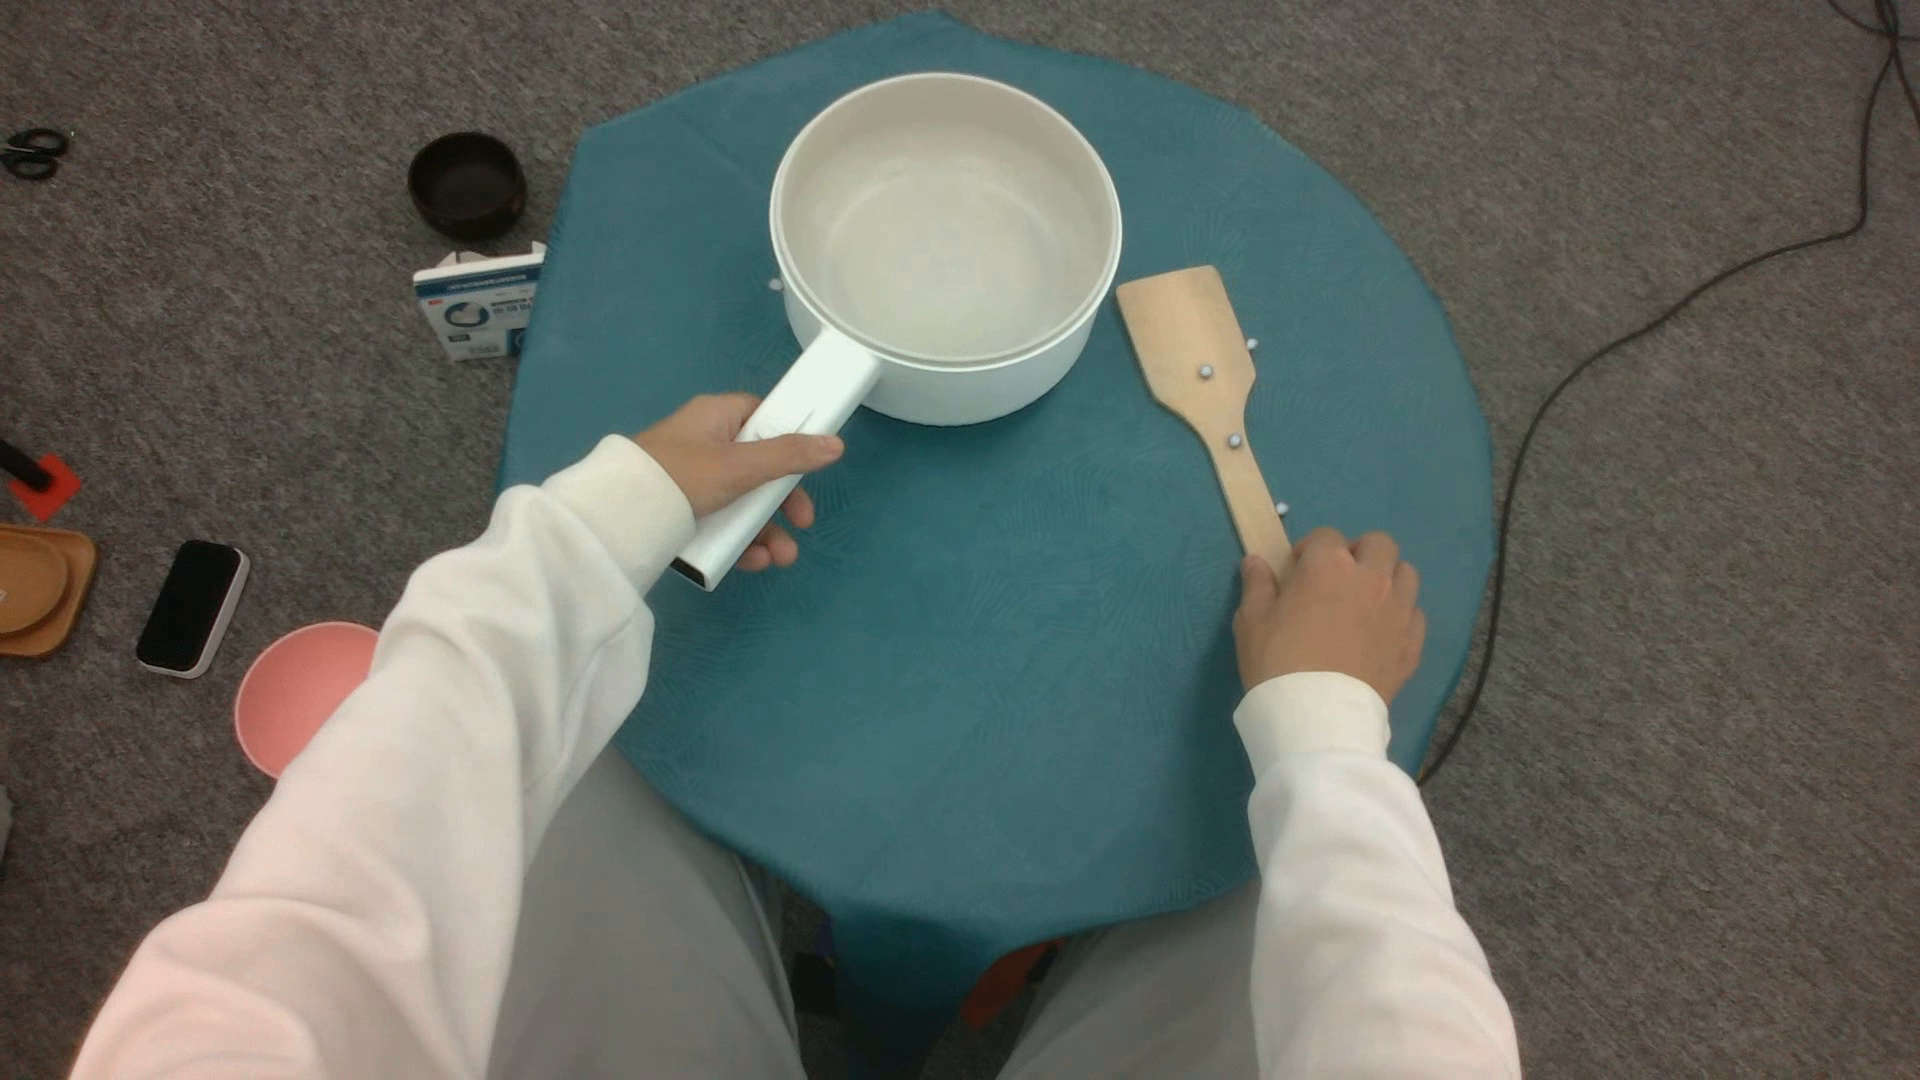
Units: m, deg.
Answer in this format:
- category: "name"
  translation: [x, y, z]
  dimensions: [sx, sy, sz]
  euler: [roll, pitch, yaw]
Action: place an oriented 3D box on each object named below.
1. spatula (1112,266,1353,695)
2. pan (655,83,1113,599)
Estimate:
- category: "spatula"
  translation: [0.174, -0.042, 0.844]
  dimensions: [0.072, 0.010, 0.293]
  euler: [-16, 69, -8]
- category: "pan"
  translation: [-0.052, -0.106, 0.809]
  dimensions: [0.201, 0.101, 0.356]
  euler: [29, 69, 9]
